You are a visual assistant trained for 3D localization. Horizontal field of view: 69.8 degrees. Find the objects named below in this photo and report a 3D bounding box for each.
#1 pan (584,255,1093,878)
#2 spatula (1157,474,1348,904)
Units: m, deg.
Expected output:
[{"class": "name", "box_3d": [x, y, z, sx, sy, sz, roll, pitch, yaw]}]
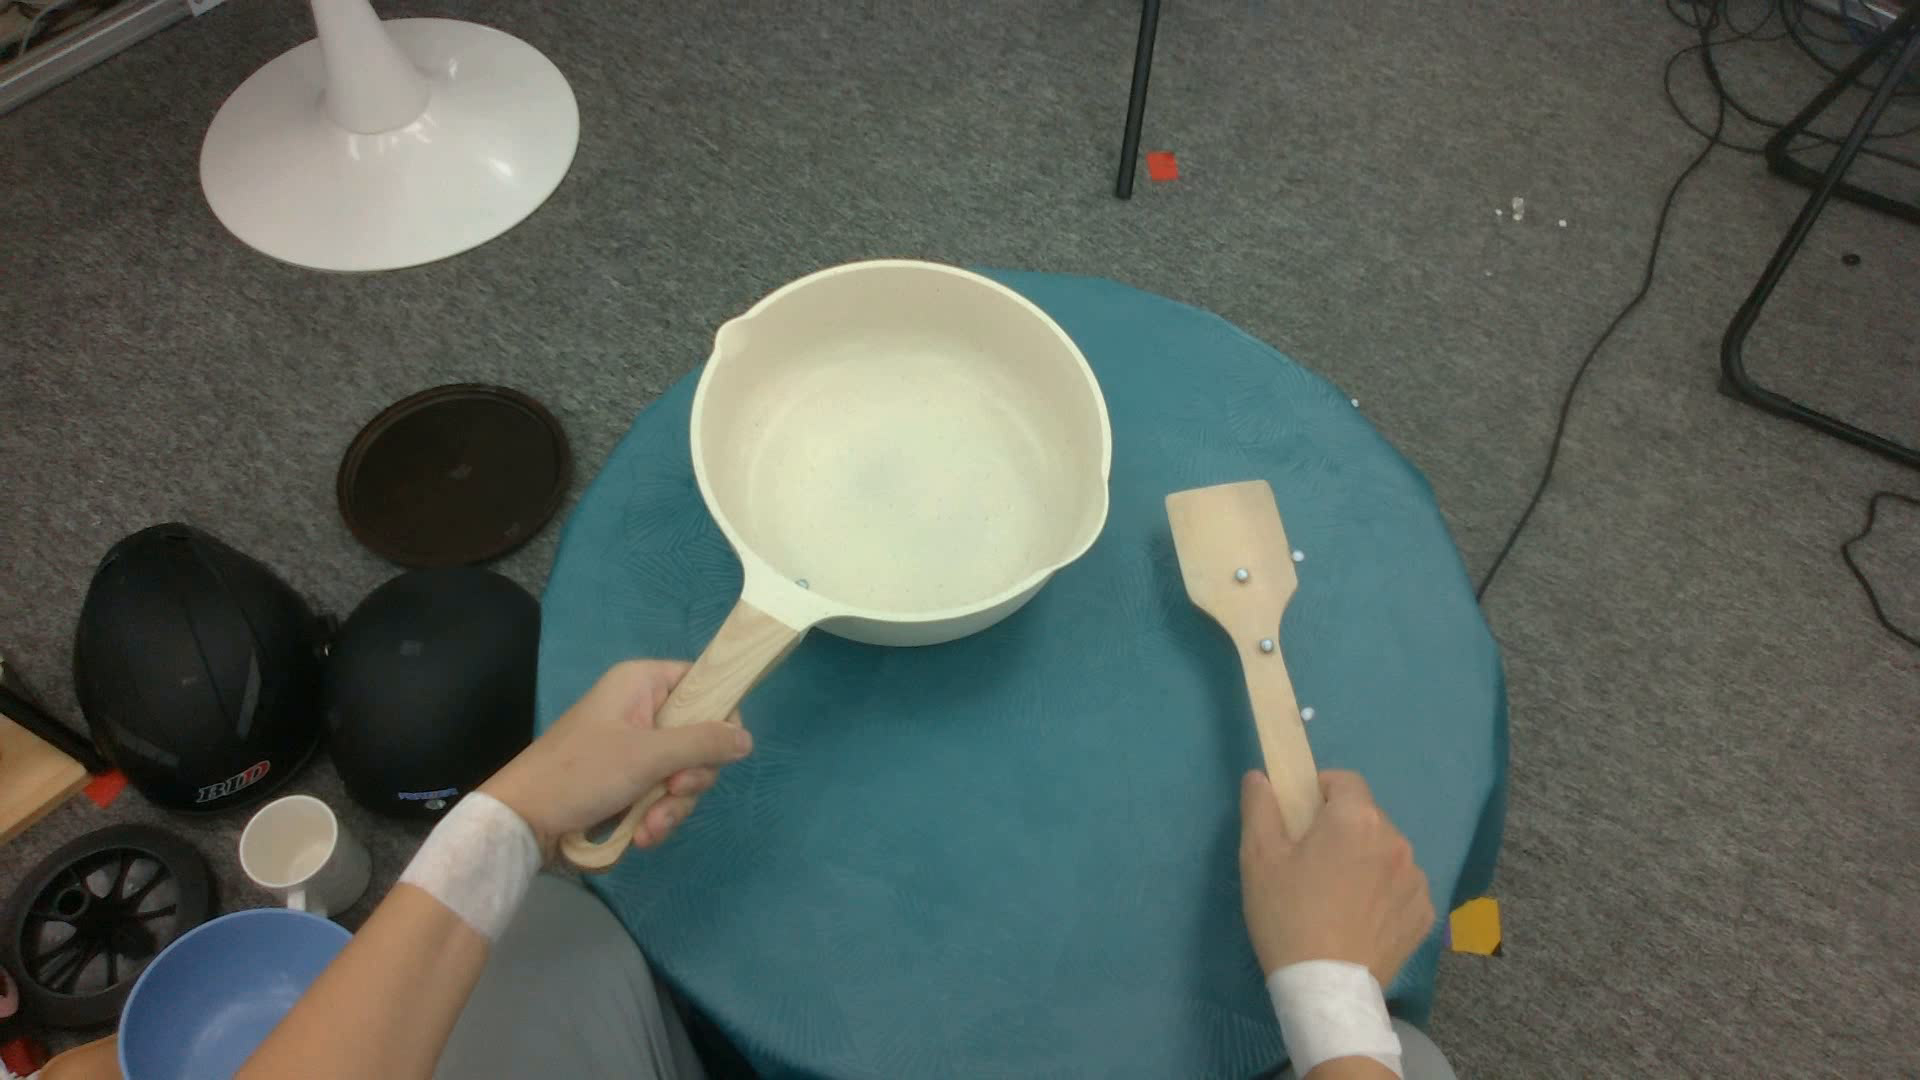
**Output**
[{"class": "pan", "box_3d": [-0.088, 0.014, 0.823, 0.263, 0.101, 0.437, 27, 64, 7]}, {"class": "spatula", "box_3d": [0.181, 0.078, 0.824, 0.072, 0.010, 0.294, -10, 53, 2]}]
